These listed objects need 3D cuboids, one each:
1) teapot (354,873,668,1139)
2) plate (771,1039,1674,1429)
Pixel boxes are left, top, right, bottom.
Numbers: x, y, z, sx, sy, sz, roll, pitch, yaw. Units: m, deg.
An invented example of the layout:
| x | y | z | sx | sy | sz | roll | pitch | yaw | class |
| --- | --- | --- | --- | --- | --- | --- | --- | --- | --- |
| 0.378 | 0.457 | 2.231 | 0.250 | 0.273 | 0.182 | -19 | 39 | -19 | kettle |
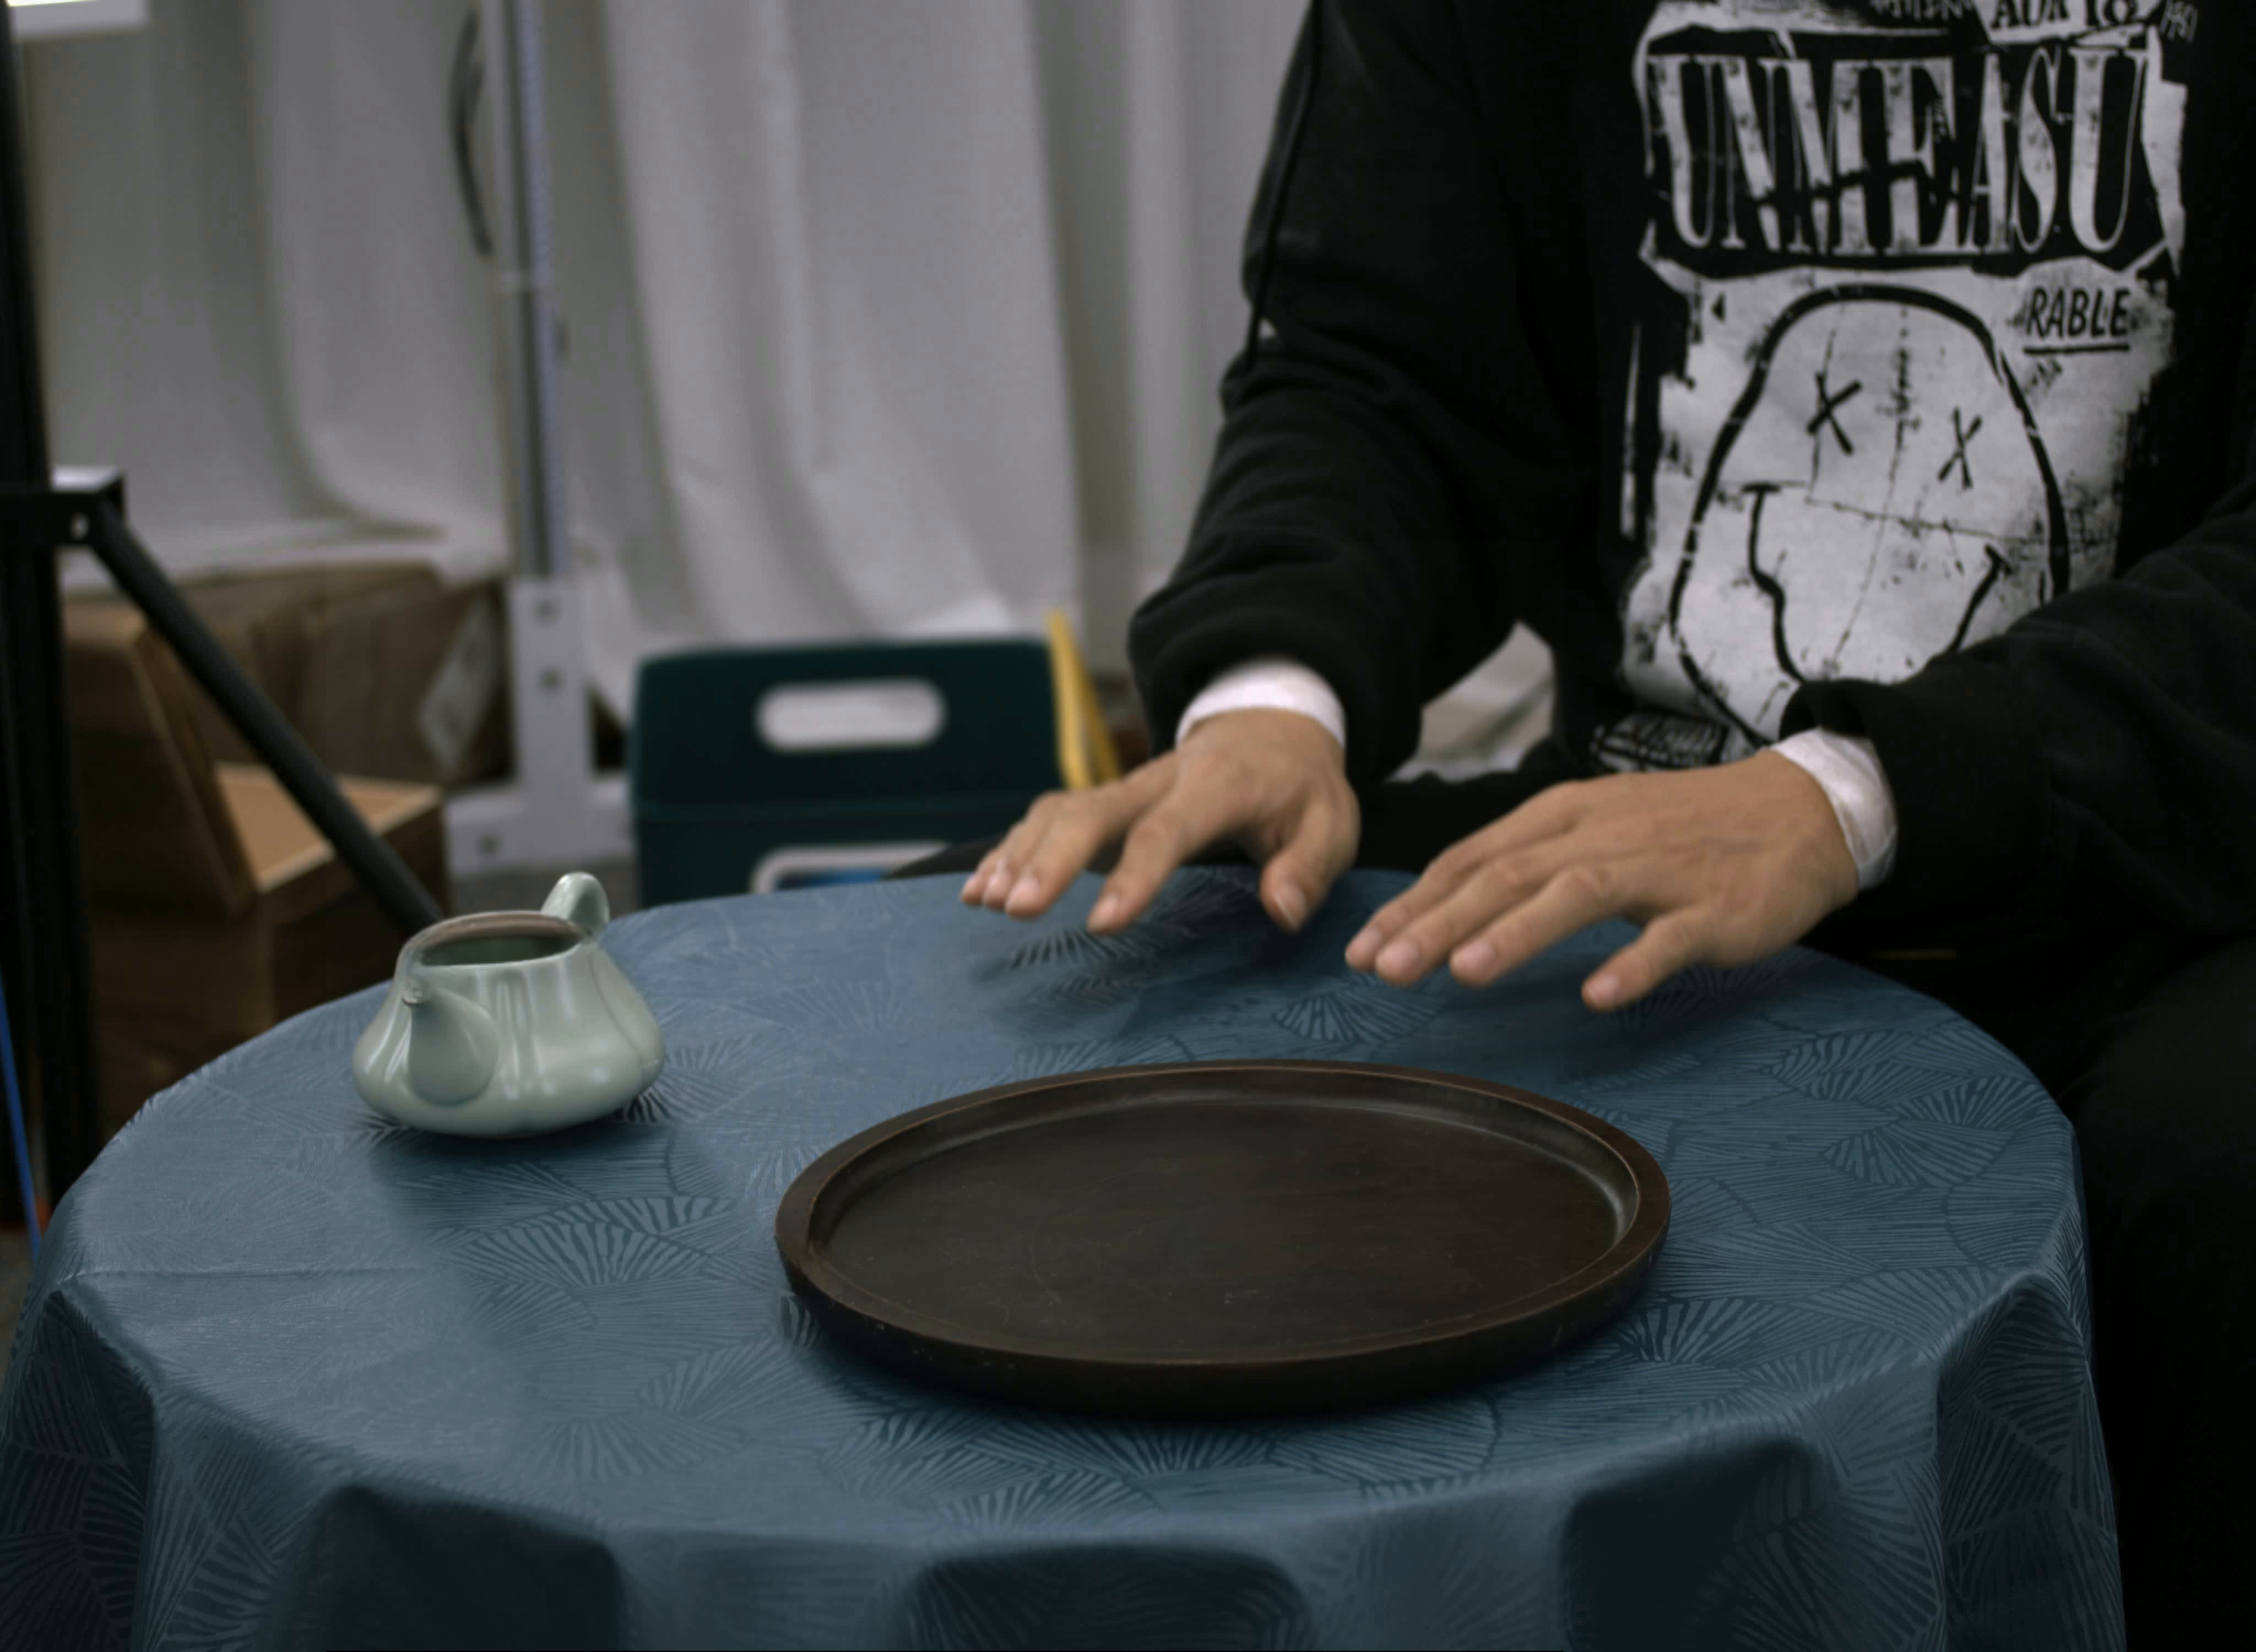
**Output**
| x | y | z | sx | sy | sz | roll | pitch | yaw | class |
| --- | --- | --- | --- | --- | --- | --- | --- | --- | --- |
| -0.190 | 0.059 | 1.651 | 0.097 | 0.061 | 0.136 | 1 | 16 | 17 | teapot |
| 0.027 | 0.114 | 1.484 | 0.253 | 0.029 | 0.256 | -4 | 16 | 0 | plate |
